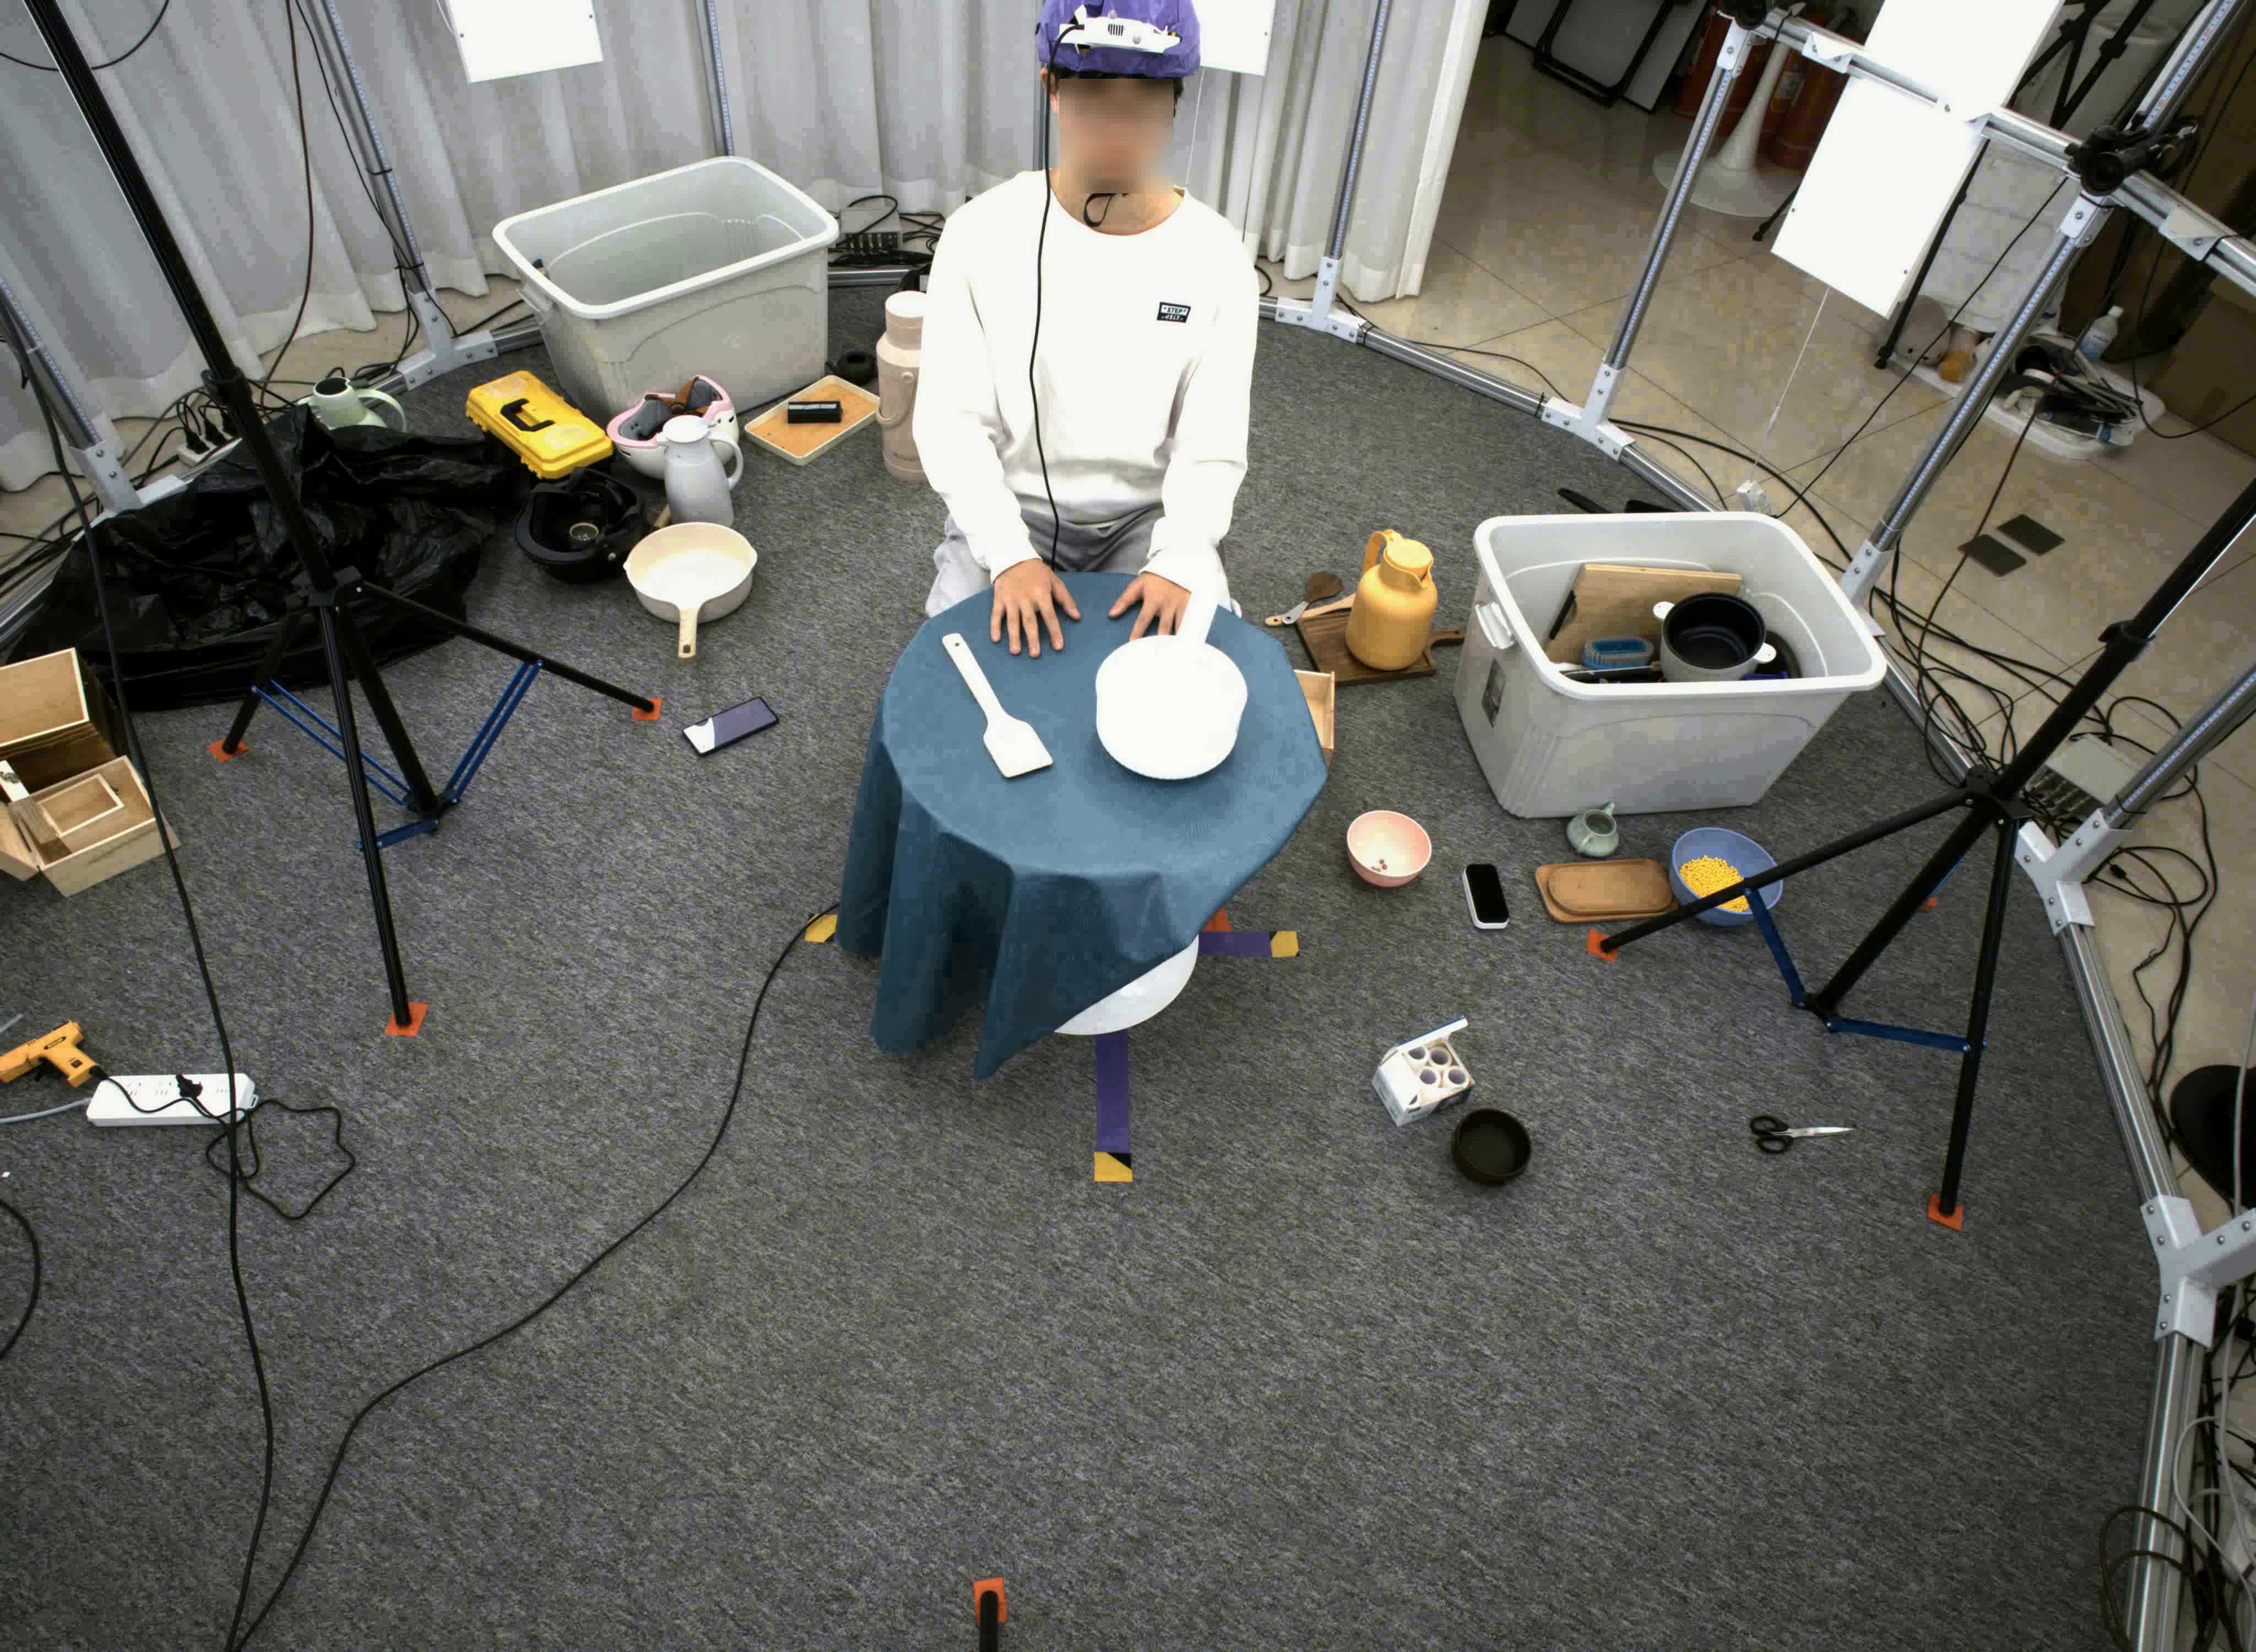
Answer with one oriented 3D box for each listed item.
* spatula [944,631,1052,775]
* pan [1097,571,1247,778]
[{"bbox_3d":[-0.196,-0.178,1.799,0.072,0.010,0.299,-19,53,-18],"label":"spatula"},{"bbox_3d":[0.076,-0.212,1.791,0.202,0.099,0.362,13,48,8],"label":"pan"}]
